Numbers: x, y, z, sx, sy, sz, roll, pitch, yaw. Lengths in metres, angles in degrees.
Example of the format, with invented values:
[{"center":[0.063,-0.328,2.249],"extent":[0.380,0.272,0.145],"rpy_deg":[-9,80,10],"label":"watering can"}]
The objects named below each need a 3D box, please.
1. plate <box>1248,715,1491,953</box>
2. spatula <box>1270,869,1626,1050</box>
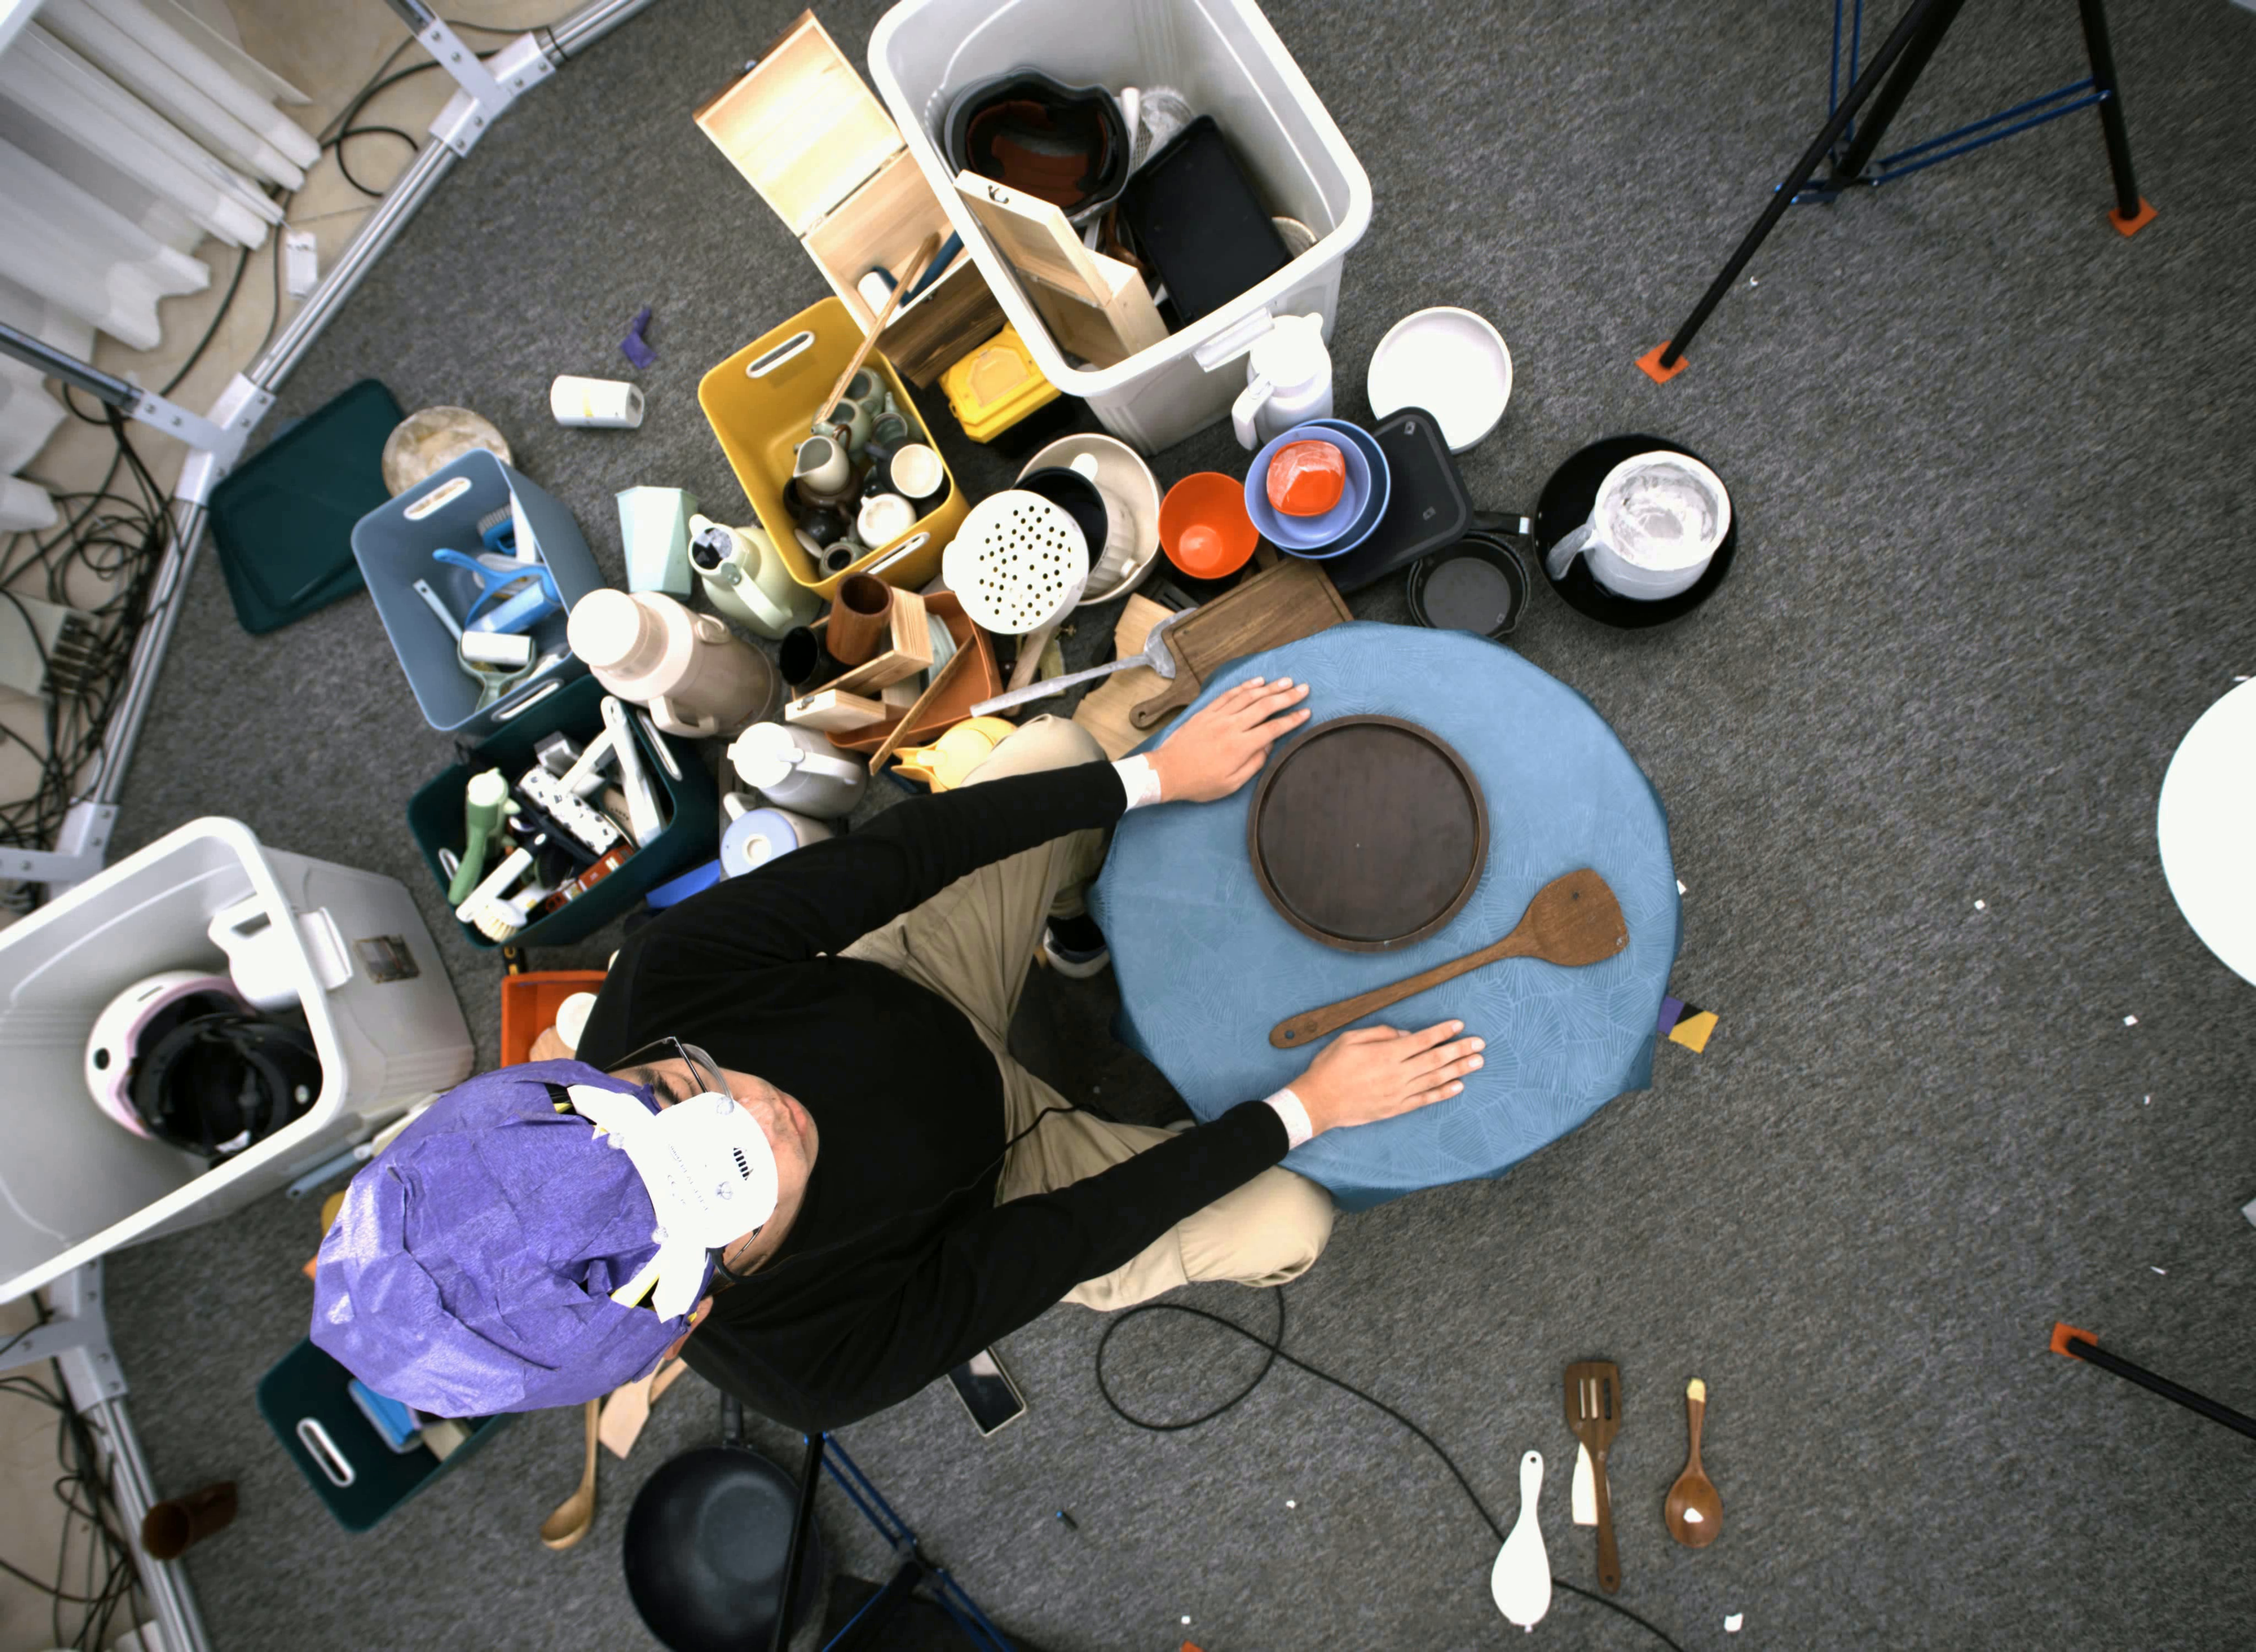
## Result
[{"center":[0.253,0.007,1.455],"extent":[0.256,0.029,0.254],"rpy_deg":[-1,88,10],"label":"plate"},{"center":[0.327,0.153,1.438],"extent":[0.388,0.016,0.095],"rpy_deg":[-23,82,9],"label":"spatula"}]
